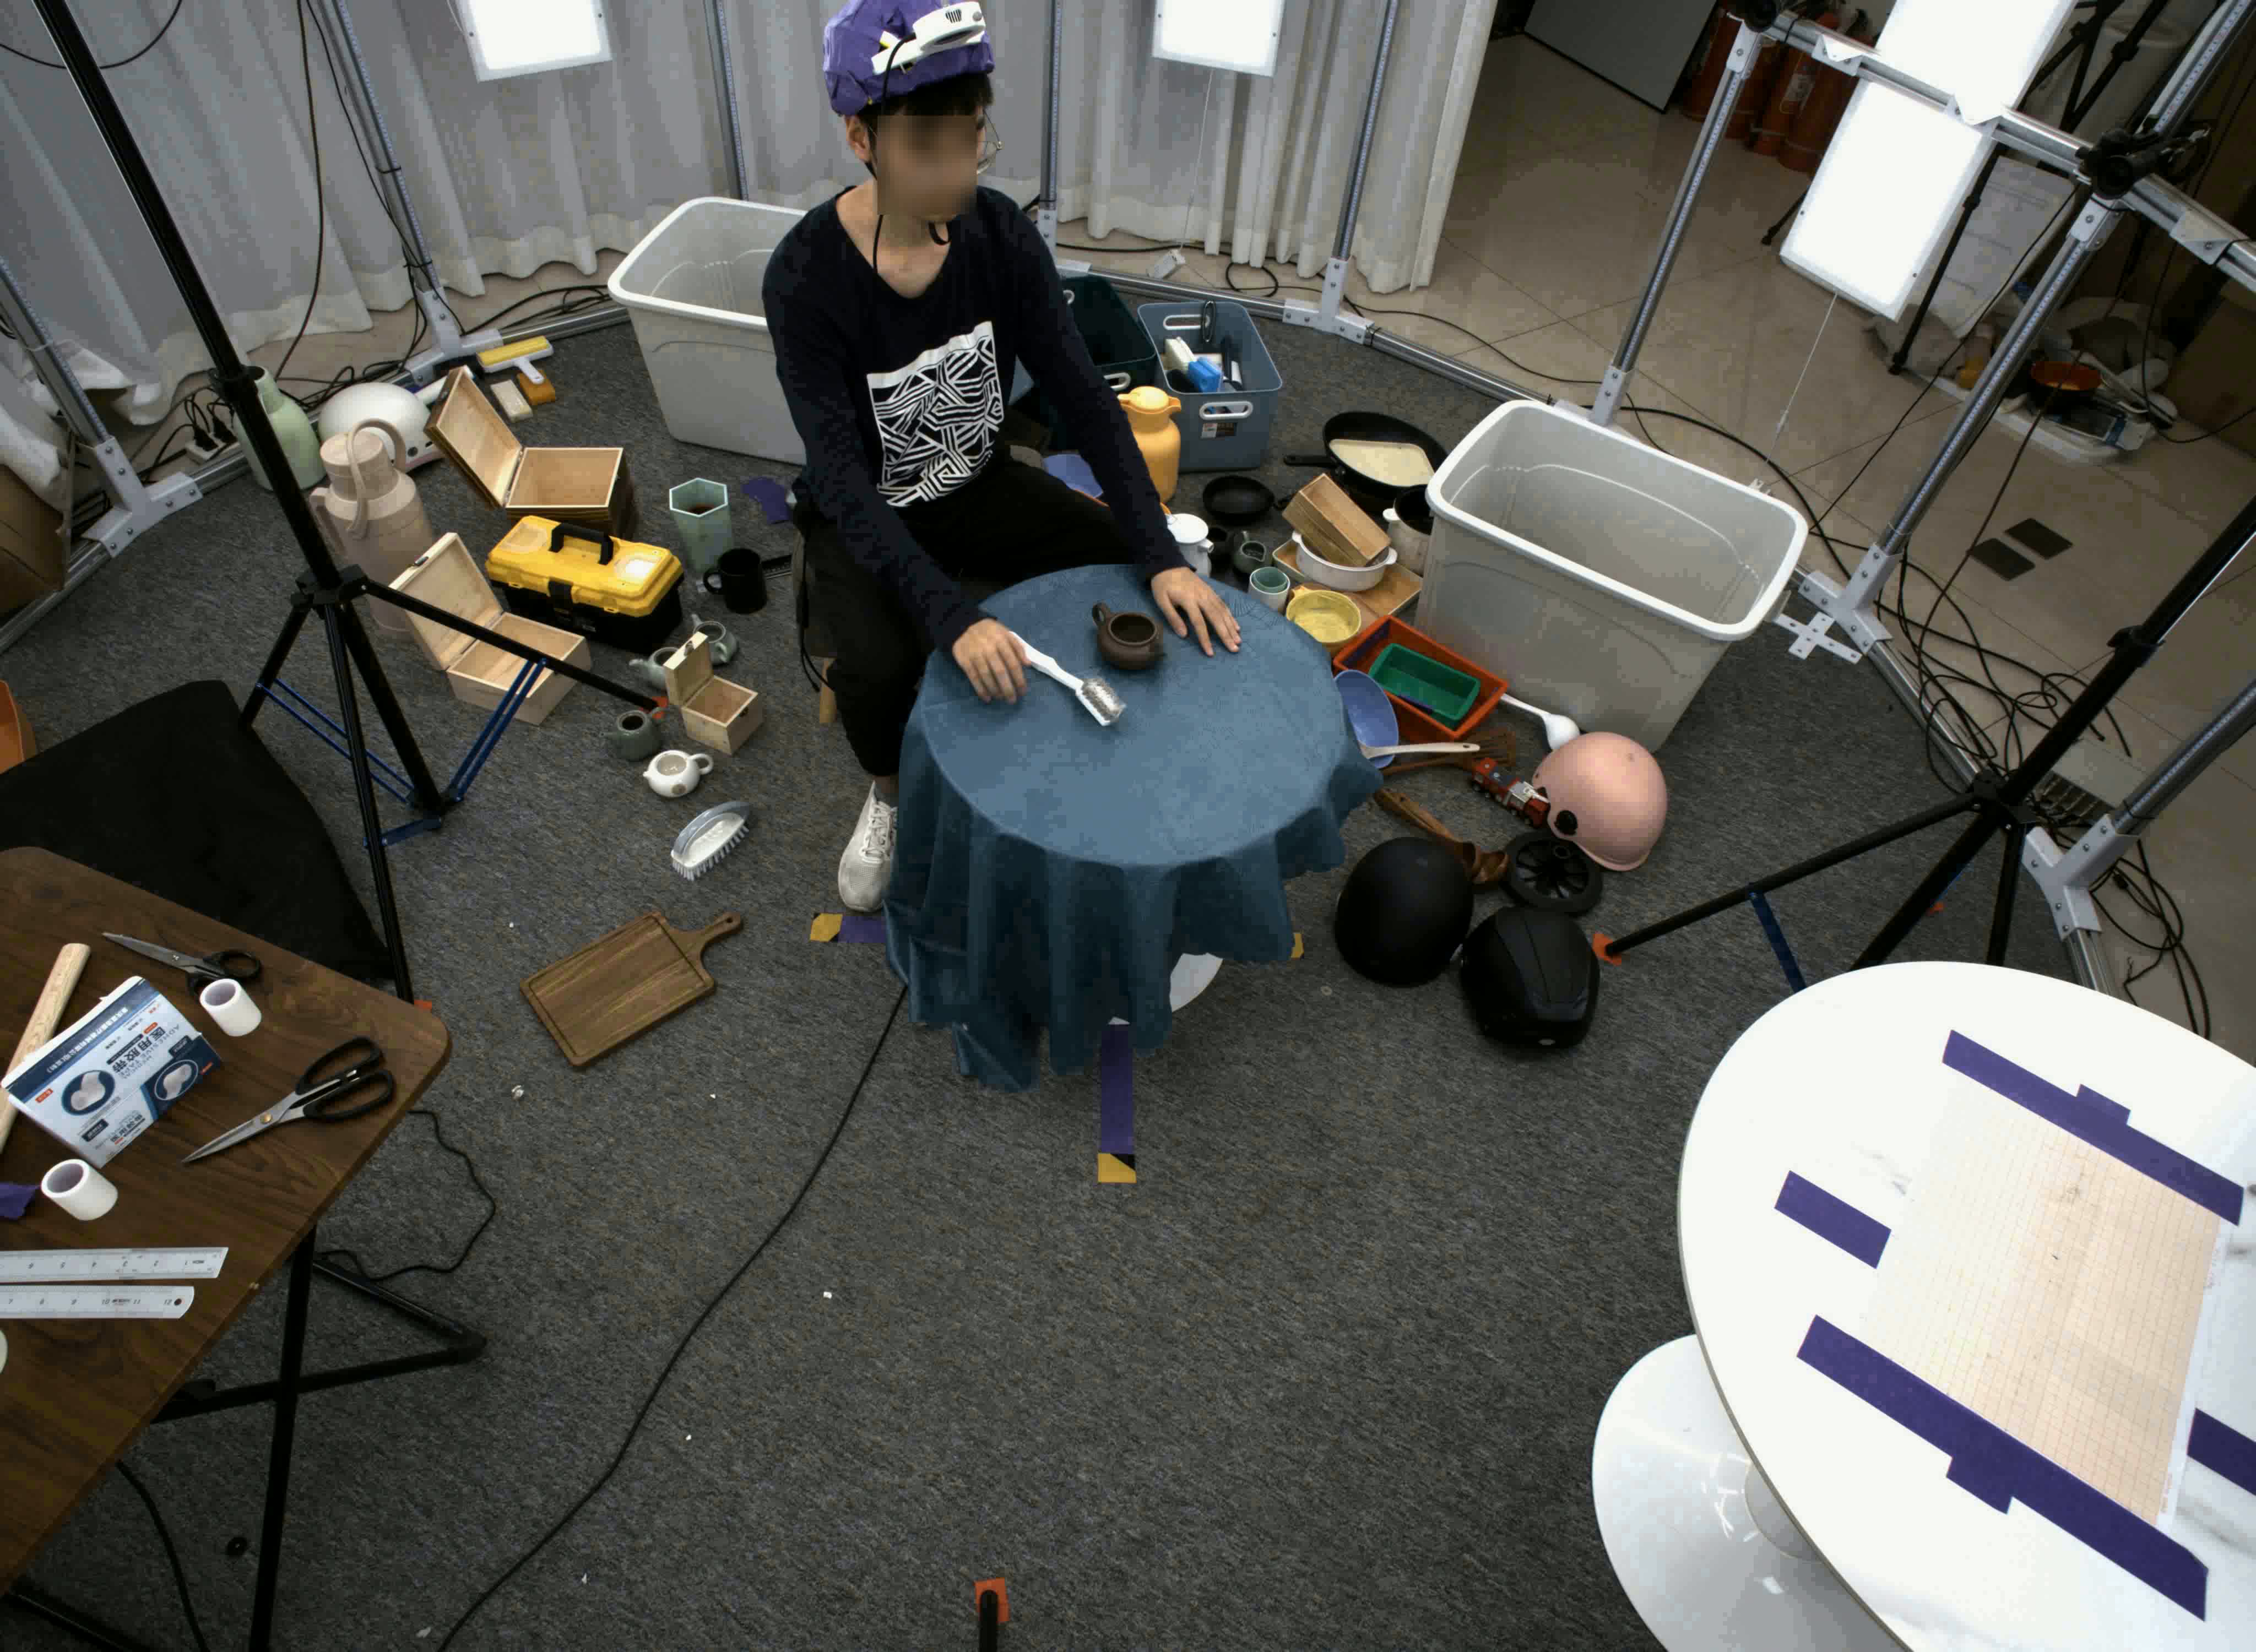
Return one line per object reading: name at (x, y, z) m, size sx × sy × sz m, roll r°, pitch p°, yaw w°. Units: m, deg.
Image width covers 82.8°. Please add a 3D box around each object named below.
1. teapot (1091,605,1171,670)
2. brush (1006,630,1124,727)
teapot at (0.003, -0.273, 1.872) m, size 0.155 × 0.052 × 0.104 m, roll 35°, pitch 55°, yaw 24°
brush at (-0.094, -0.224, 1.825) m, size 0.034 × 0.049 × 0.248 m, roll -33°, pitch 58°, yaw -24°
